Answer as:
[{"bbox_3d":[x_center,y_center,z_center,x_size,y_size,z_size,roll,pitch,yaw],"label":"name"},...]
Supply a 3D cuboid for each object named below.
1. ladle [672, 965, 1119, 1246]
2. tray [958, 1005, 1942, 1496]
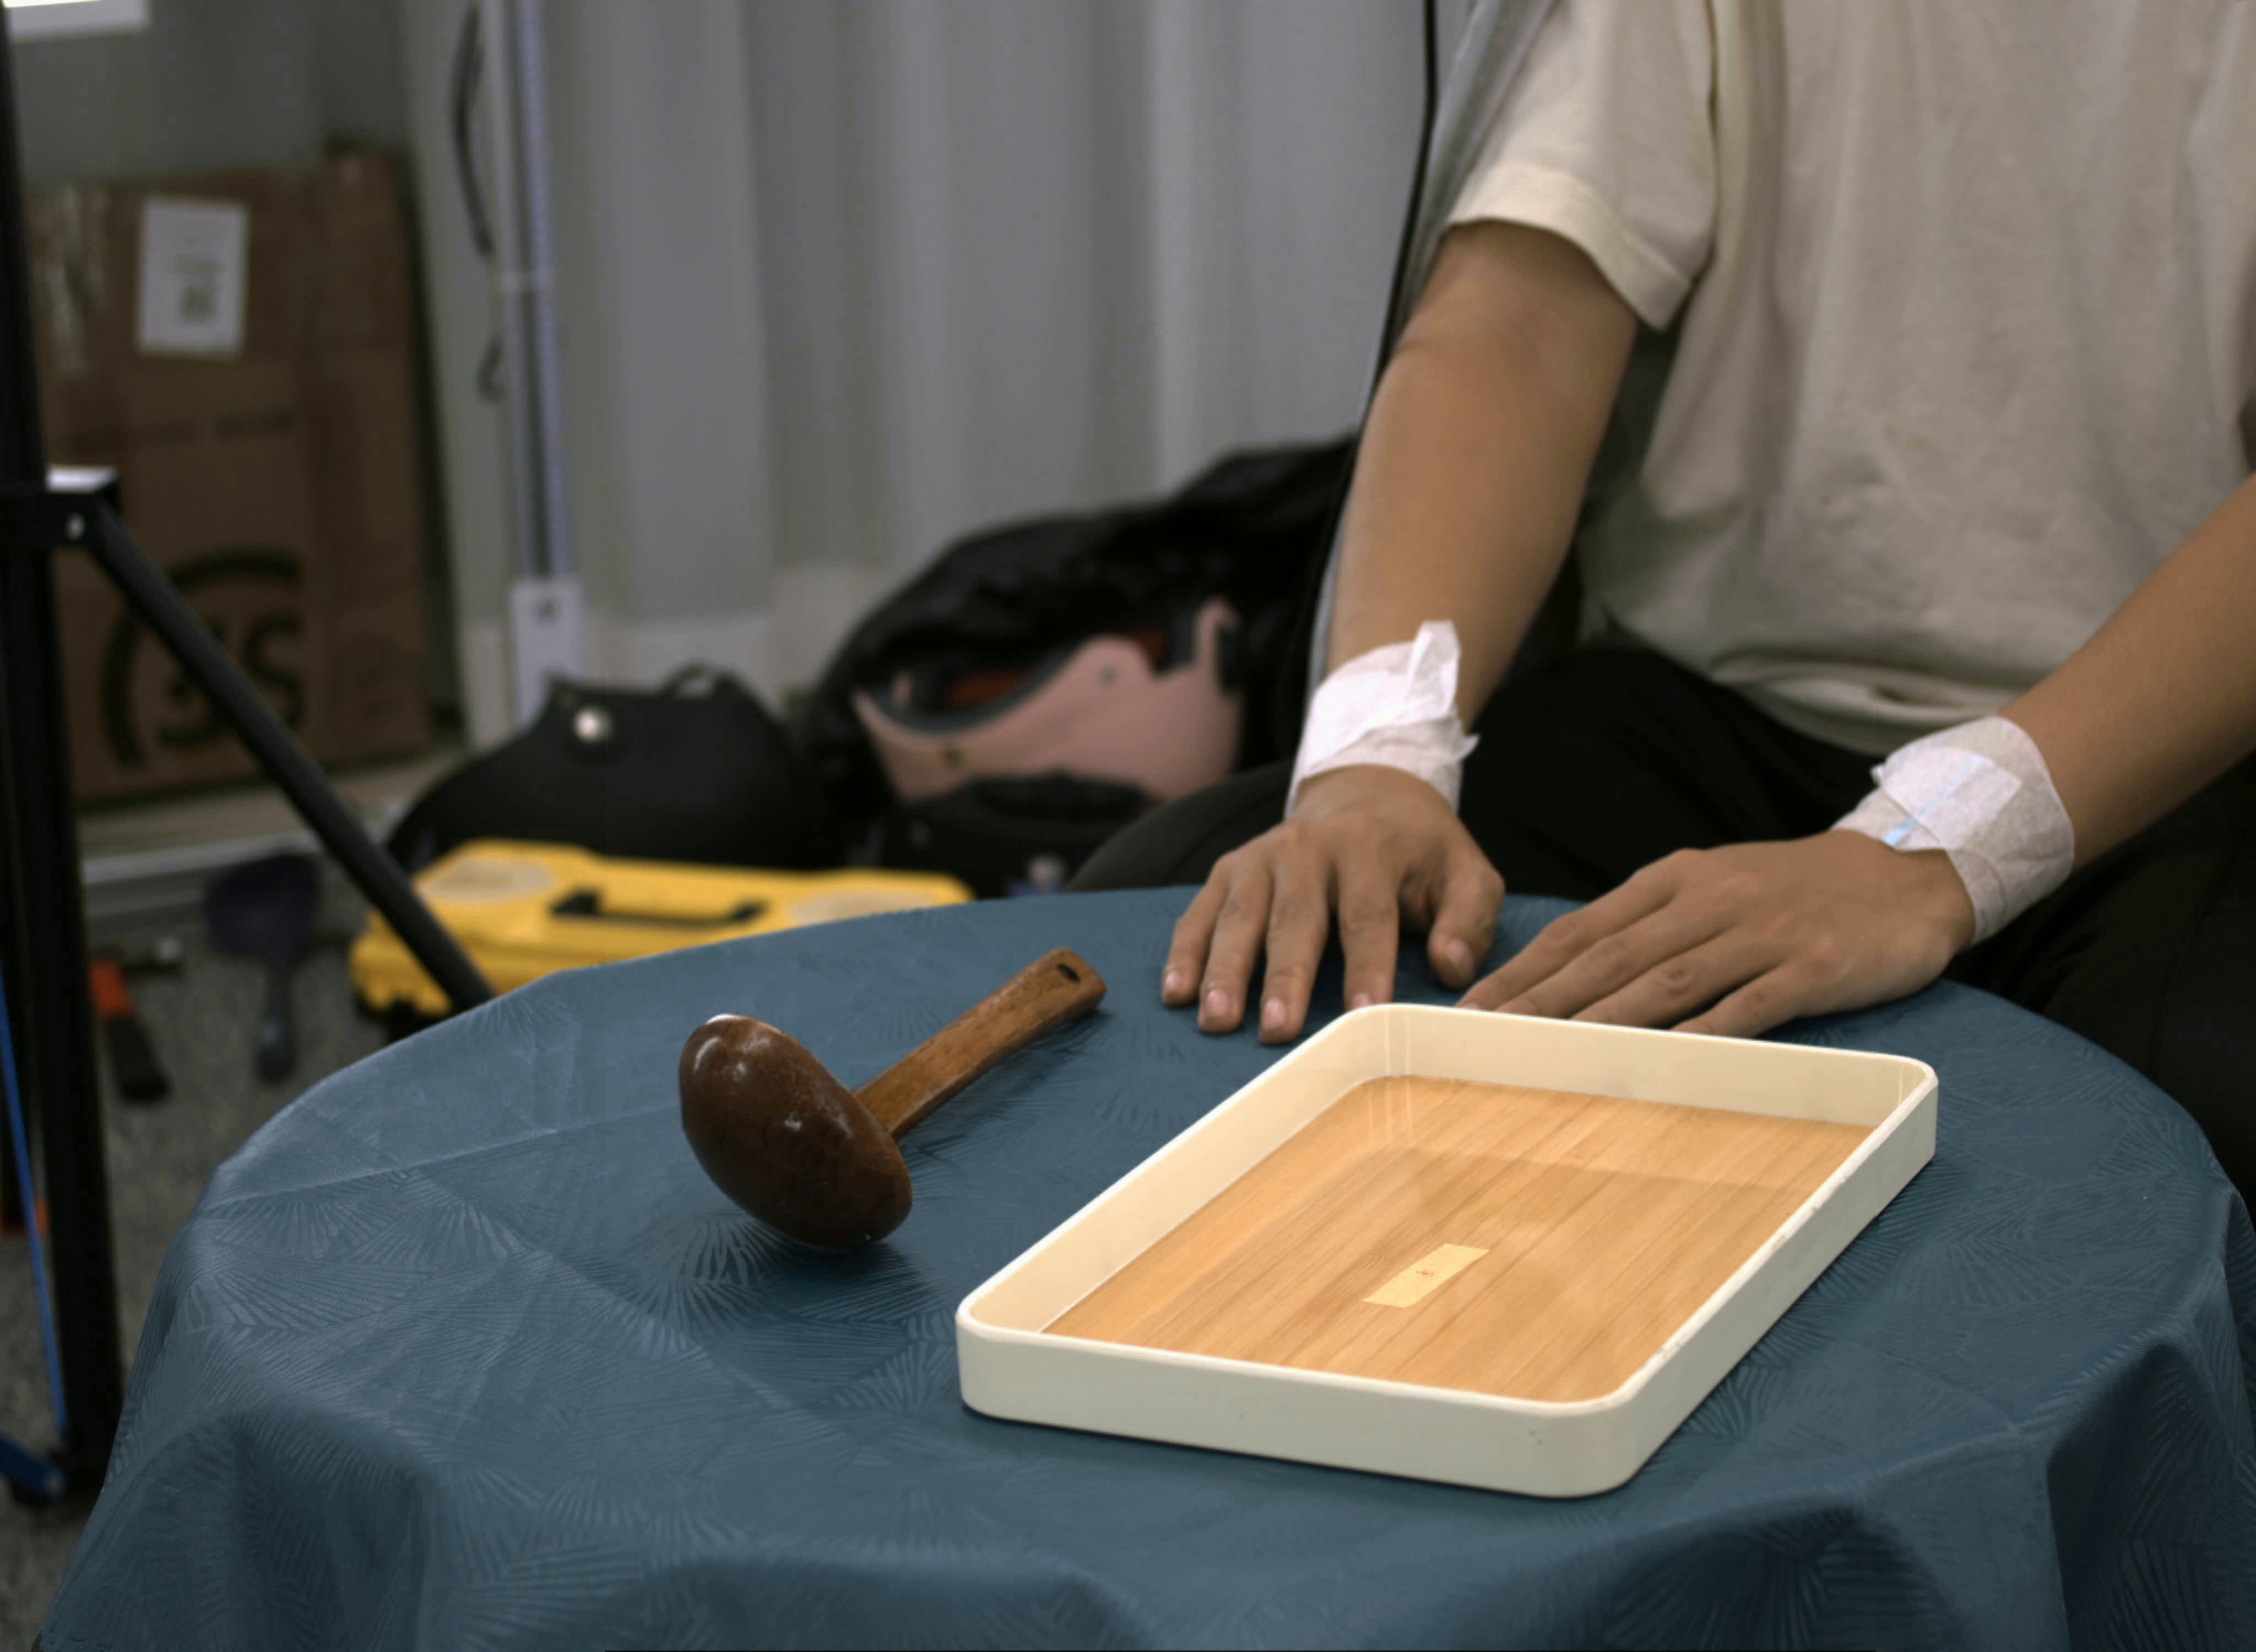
[{"bbox_3d":[-0.053,0.062,1.601,0.082,0.077,0.270,43,28,10],"label":"ladle"},{"bbox_3d":[0.098,0.112,1.474,0.194,0.027,0.295,5,17,26],"label":"tray"}]
